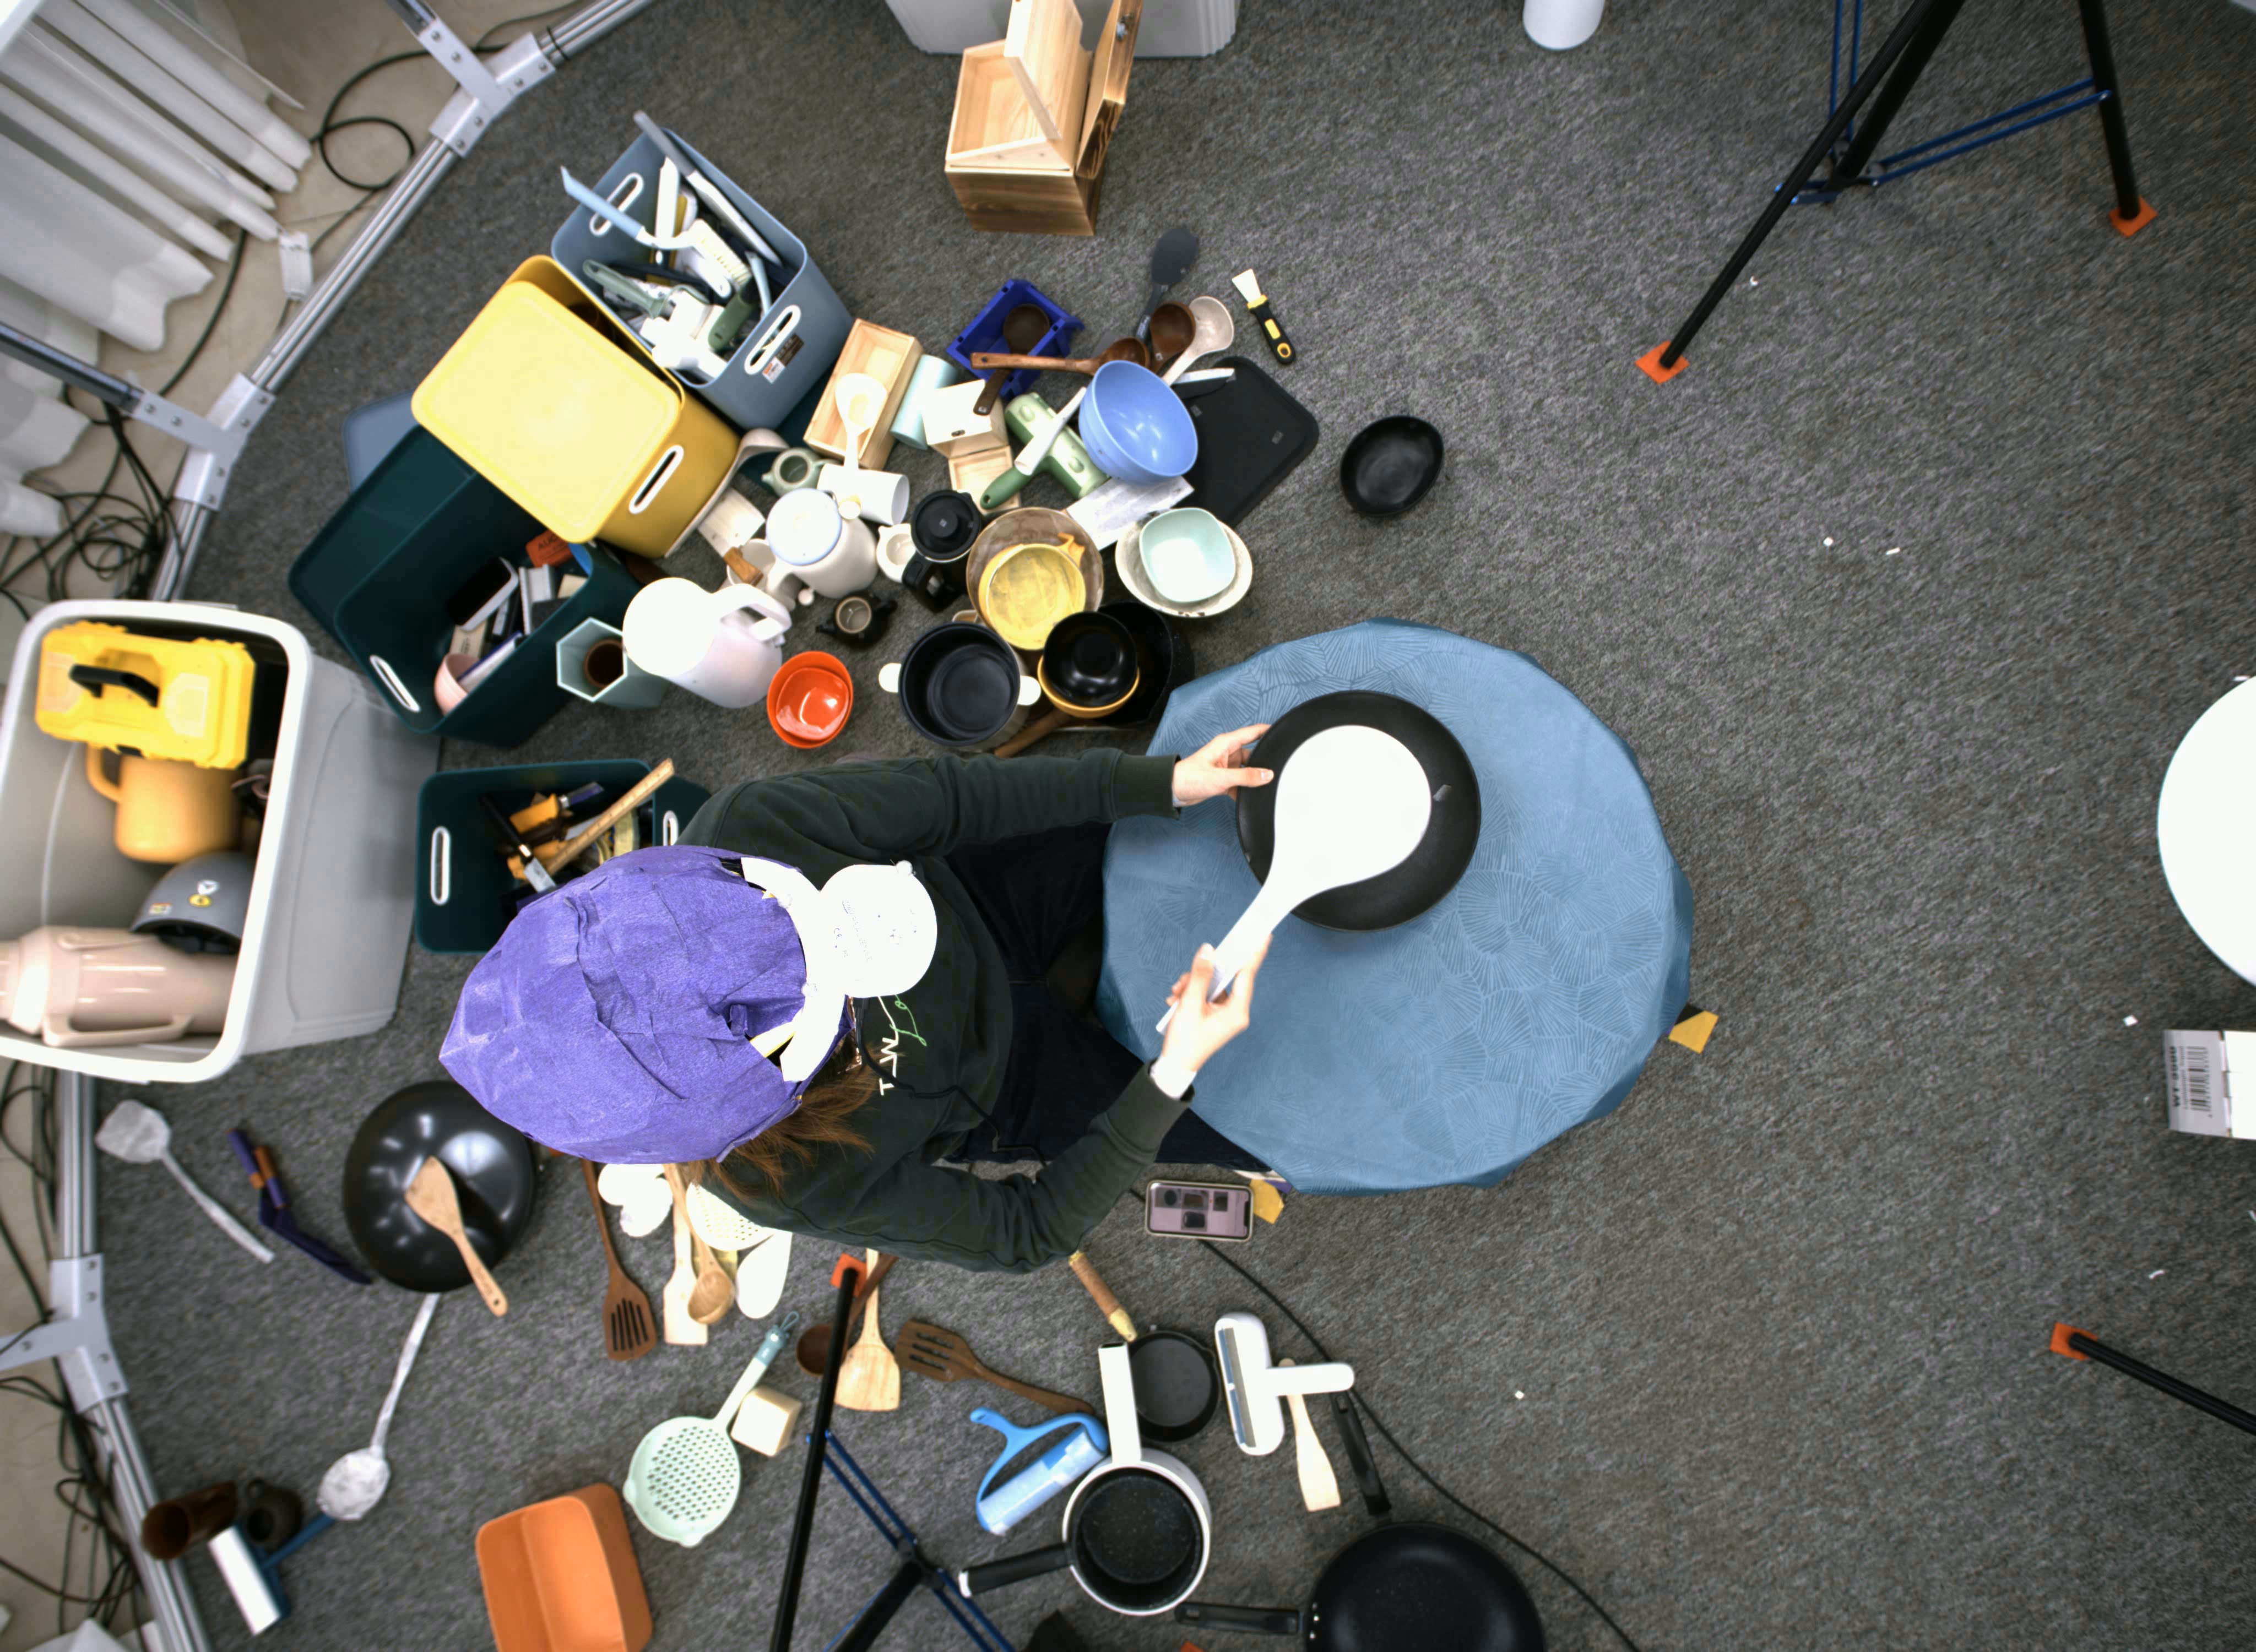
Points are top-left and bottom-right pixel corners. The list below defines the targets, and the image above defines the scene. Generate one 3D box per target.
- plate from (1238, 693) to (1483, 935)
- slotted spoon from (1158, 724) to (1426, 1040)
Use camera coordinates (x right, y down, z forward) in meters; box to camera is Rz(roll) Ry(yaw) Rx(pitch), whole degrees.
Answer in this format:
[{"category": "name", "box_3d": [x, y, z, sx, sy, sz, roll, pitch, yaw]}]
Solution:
[{"category": "plate", "box_3d": [0.233, -0.013, 1.389, 0.245, 0.023, 0.244, 0, 92, 8]}, {"category": "slotted spoon", "box_3d": [0.142, 0.059, 1.294, 0.136, 0.045, 0.351, 36, 95, -5]}]
